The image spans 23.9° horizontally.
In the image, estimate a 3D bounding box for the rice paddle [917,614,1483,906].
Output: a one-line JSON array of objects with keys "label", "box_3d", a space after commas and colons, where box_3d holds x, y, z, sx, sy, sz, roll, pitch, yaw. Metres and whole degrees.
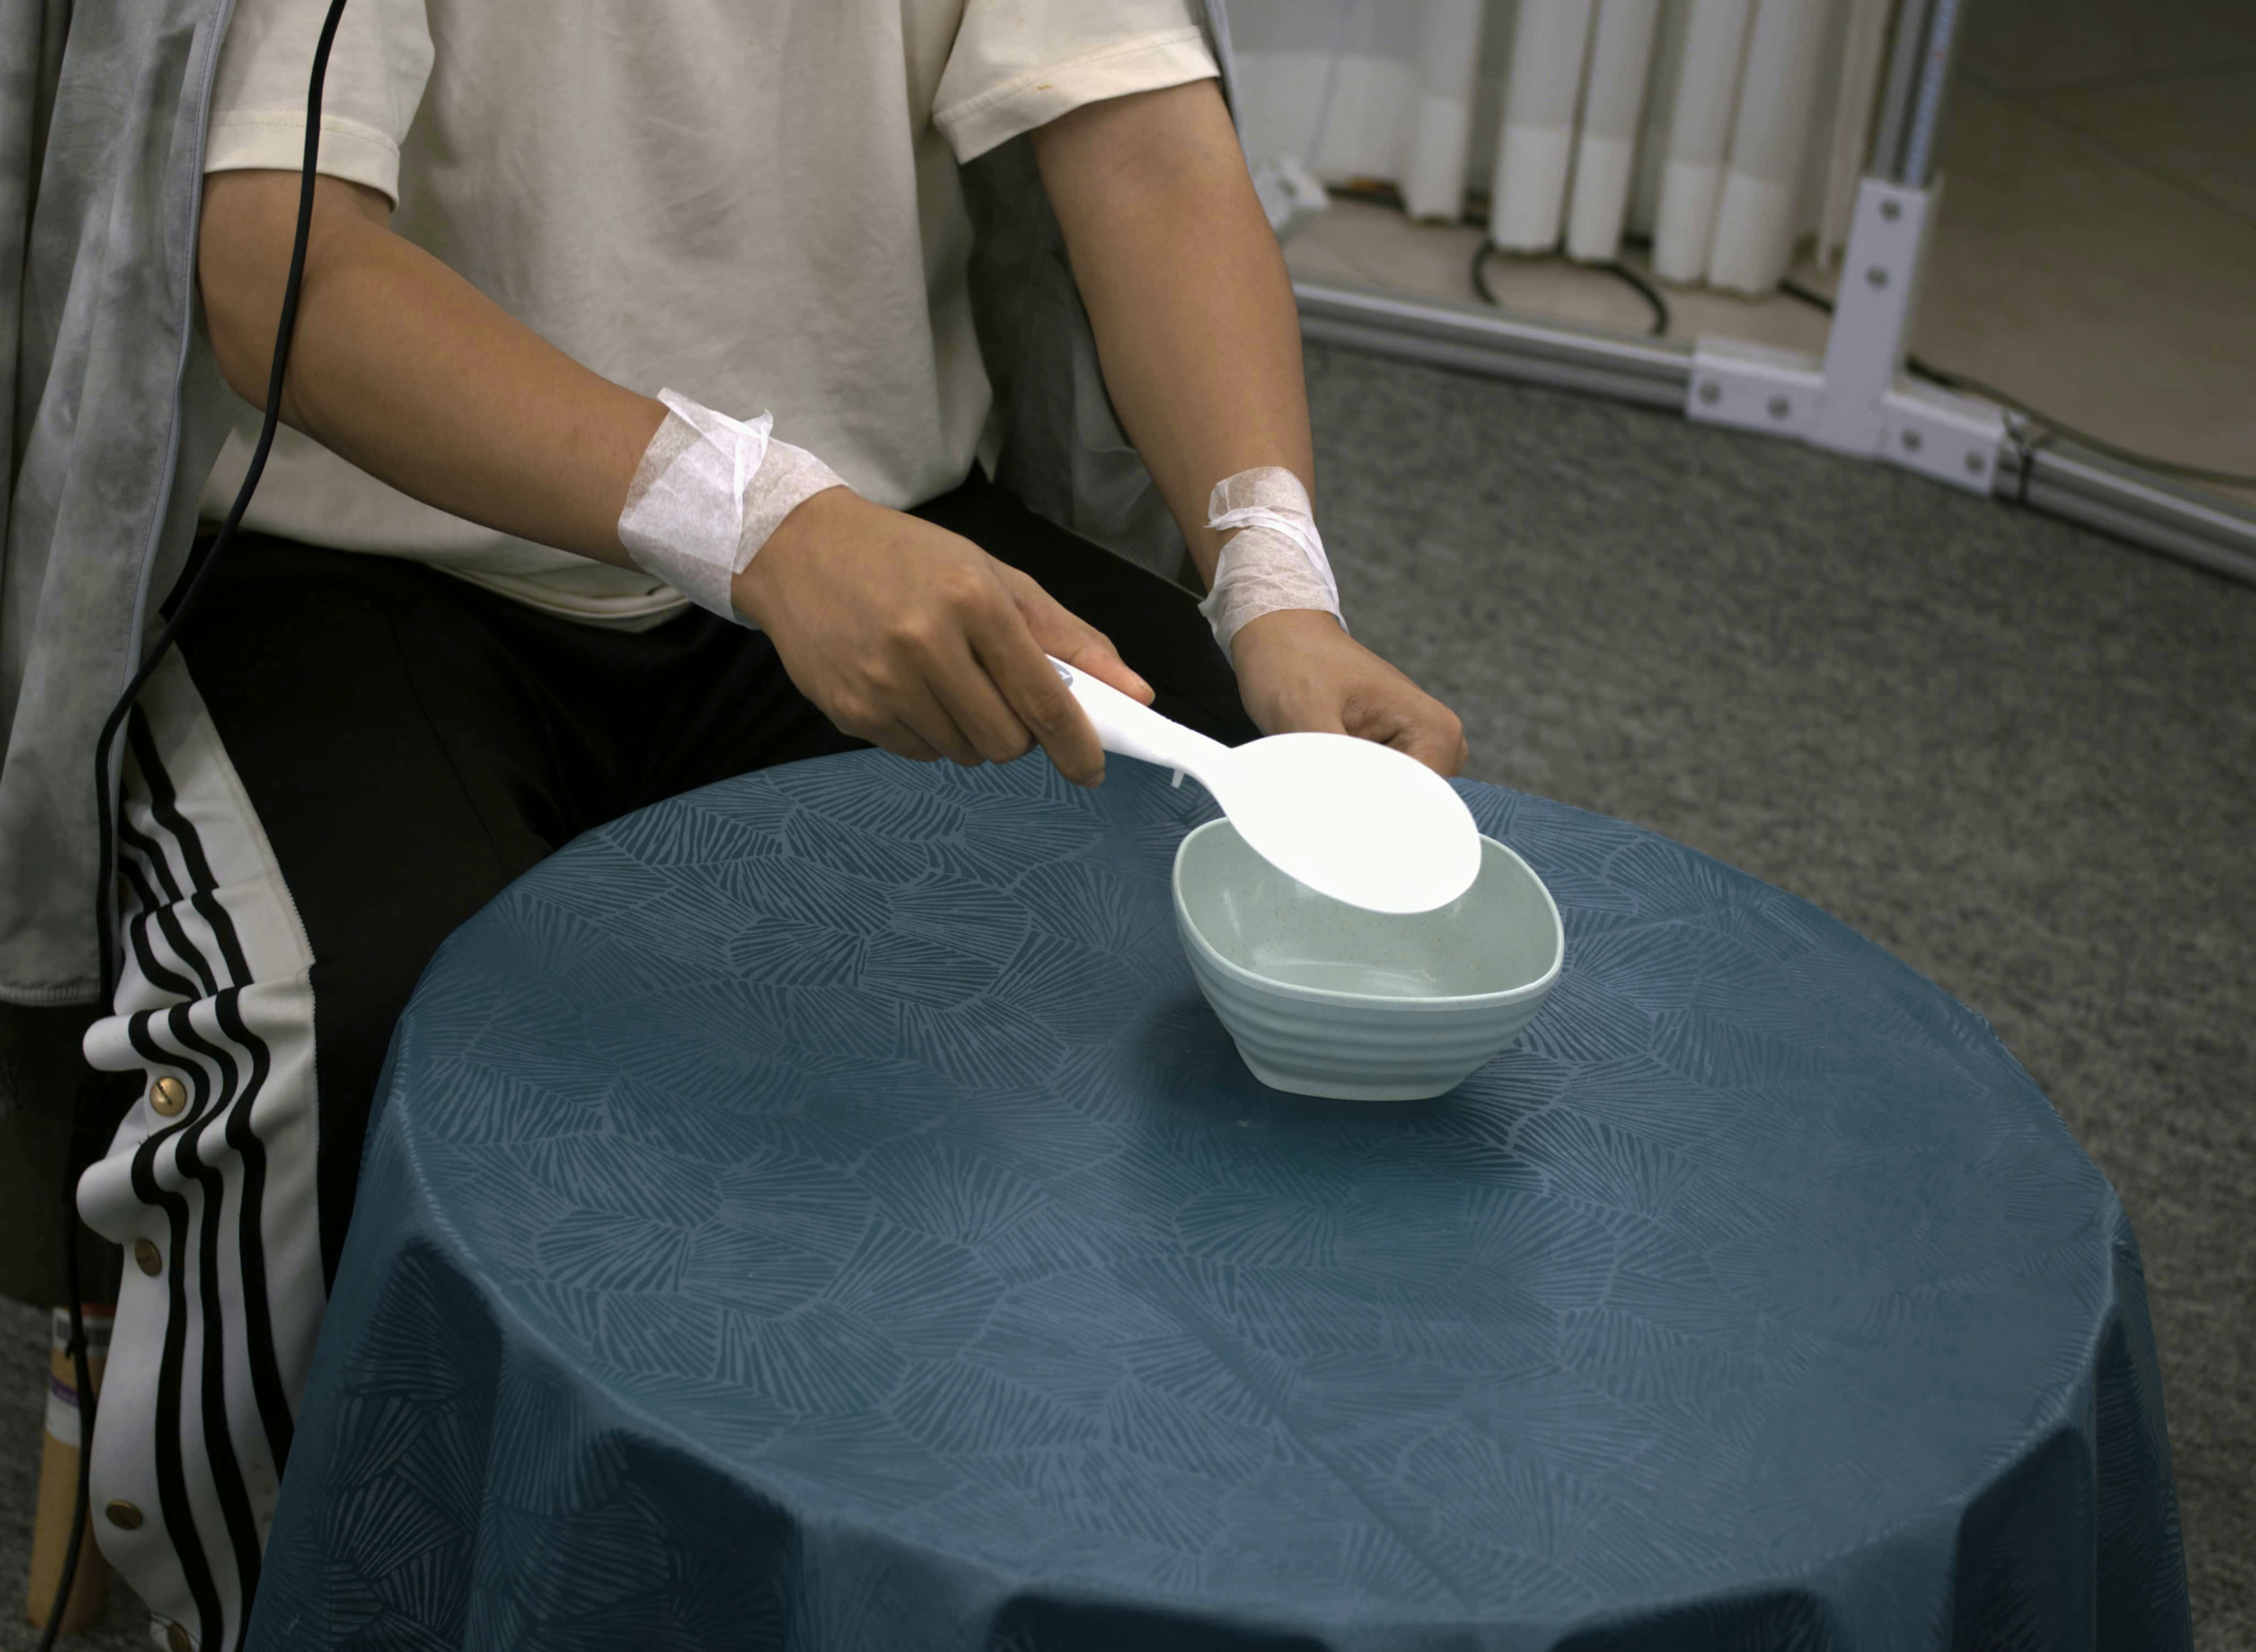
[{"label": "rice paddle", "box_3d": [0.027, -0.025, 1.847, 0.205, 0.029, 0.069, 21, 58, 4]}]

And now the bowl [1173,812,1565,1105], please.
[{"label": "bowl", "box_3d": [0.083, 0.052, 1.901, 0.151, 0.058, 0.152, 5, 30, -3]}]
